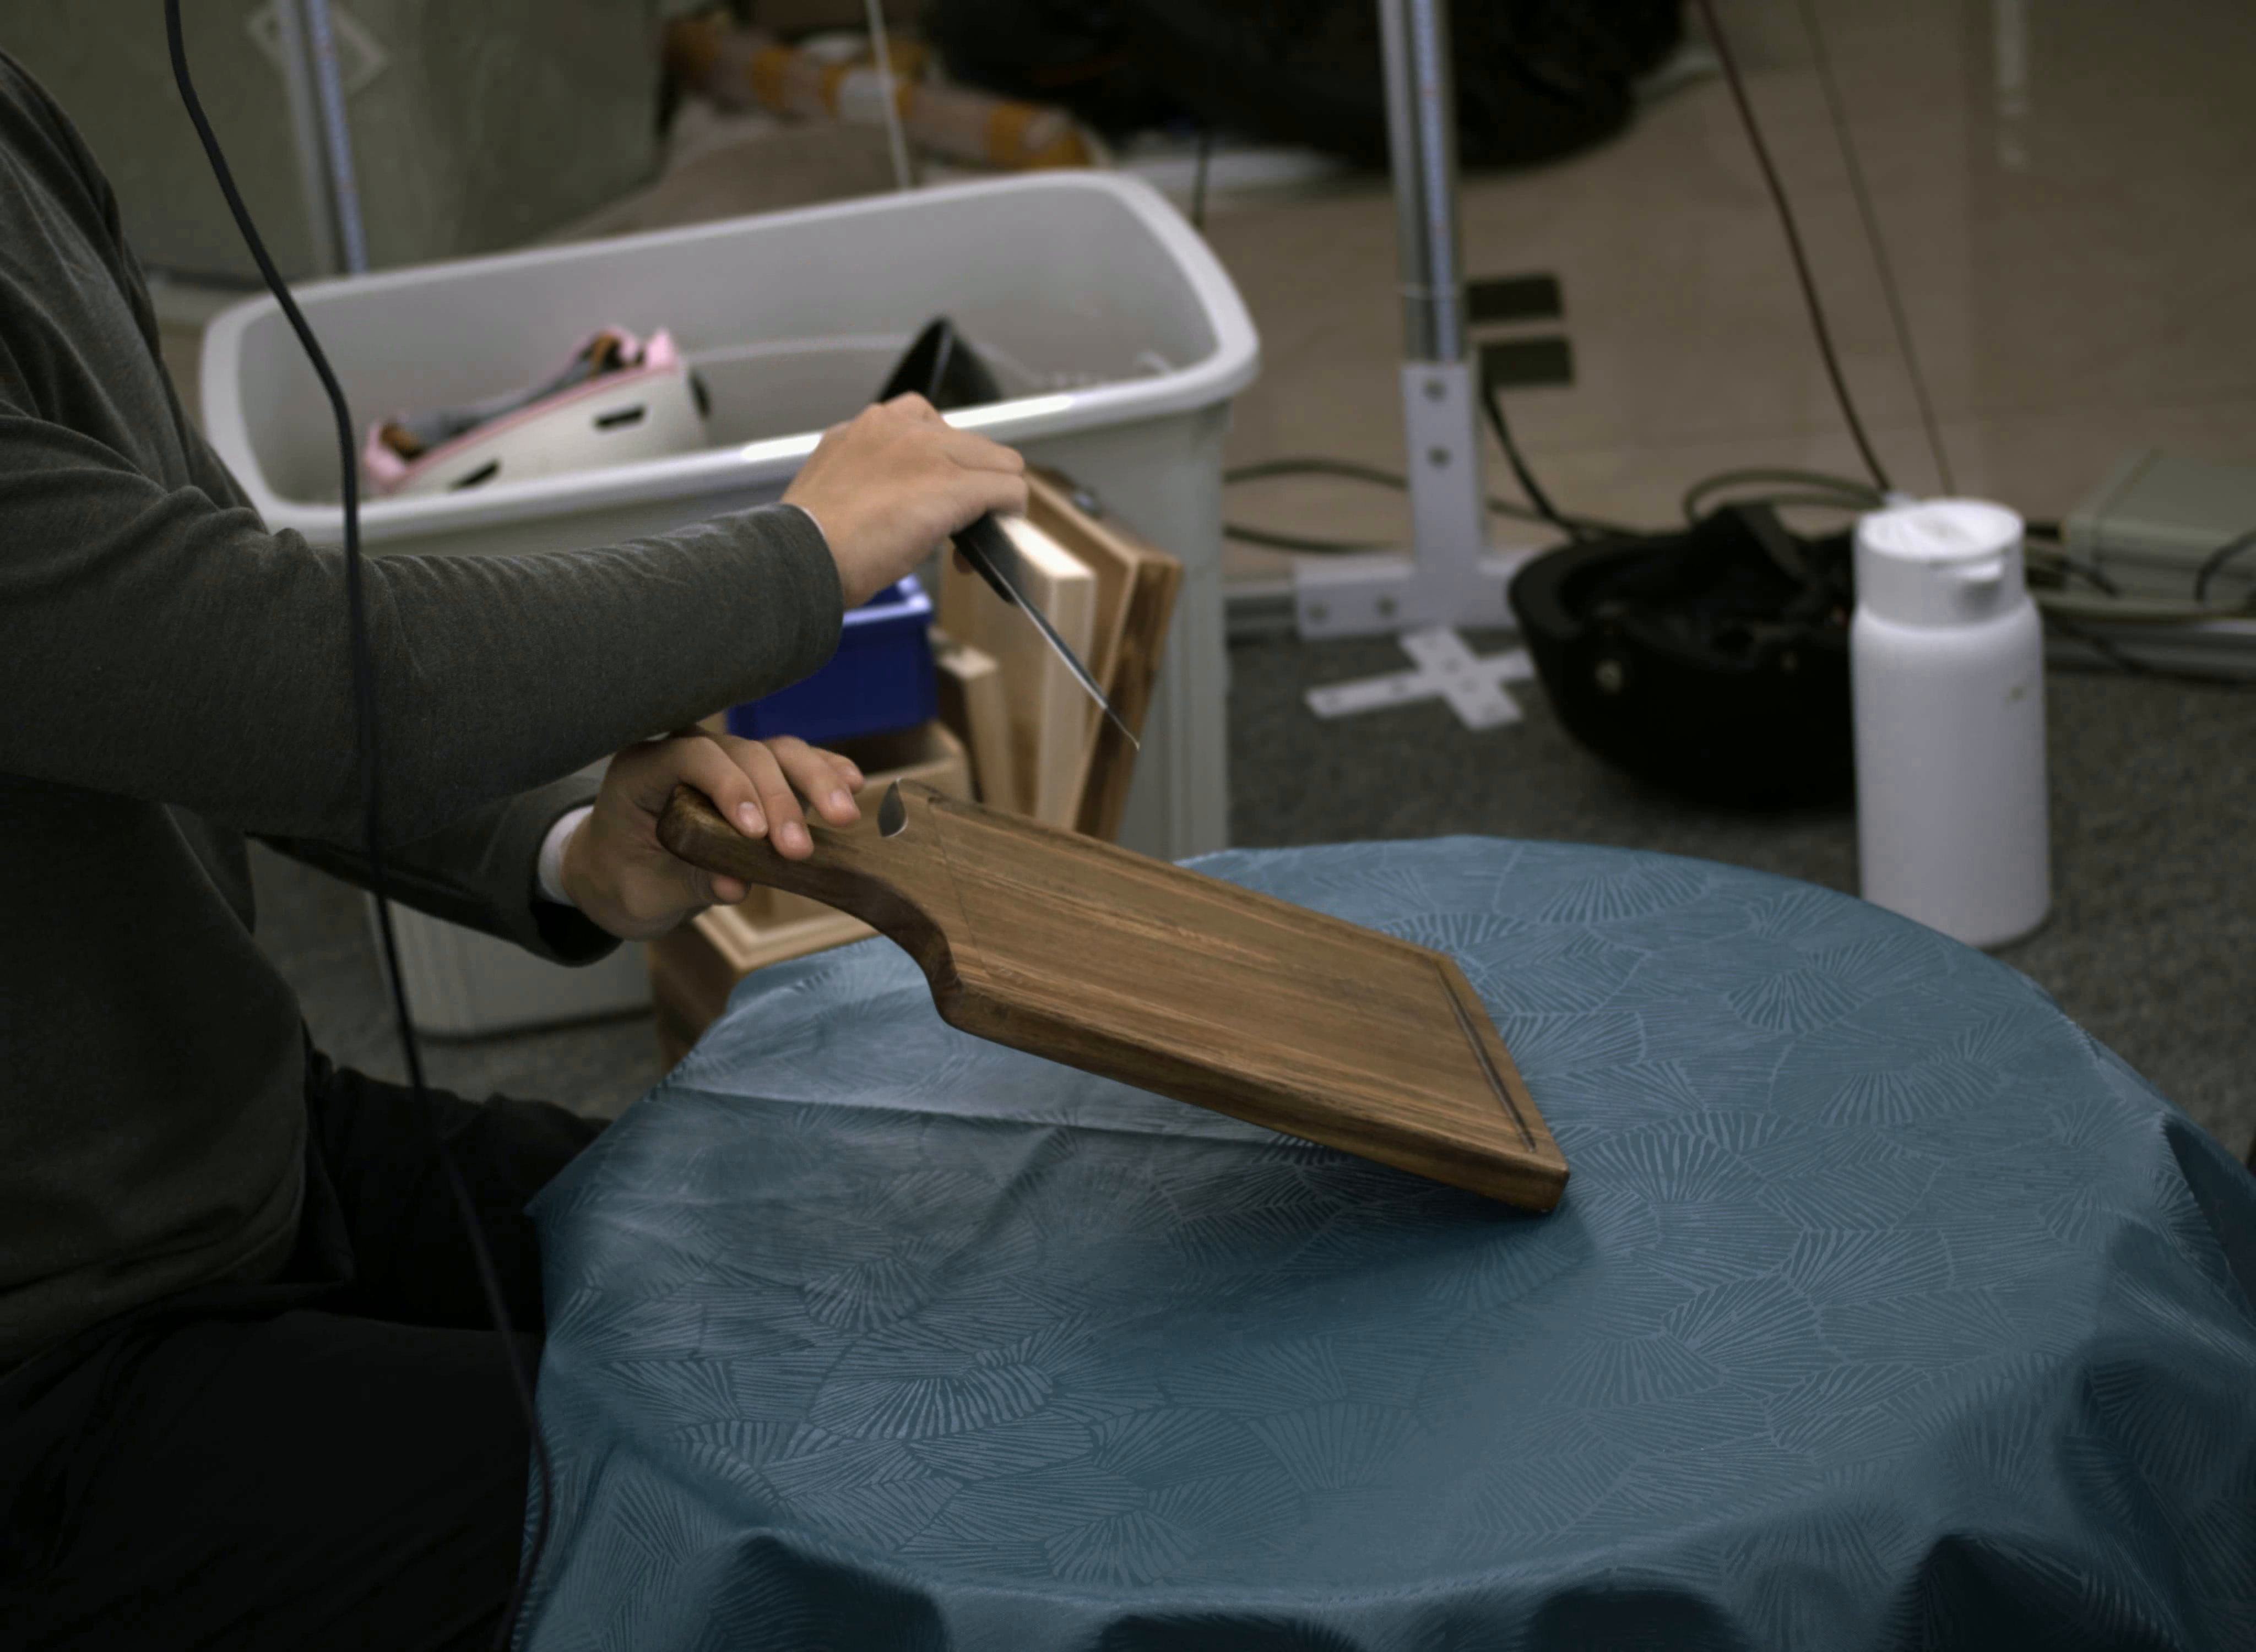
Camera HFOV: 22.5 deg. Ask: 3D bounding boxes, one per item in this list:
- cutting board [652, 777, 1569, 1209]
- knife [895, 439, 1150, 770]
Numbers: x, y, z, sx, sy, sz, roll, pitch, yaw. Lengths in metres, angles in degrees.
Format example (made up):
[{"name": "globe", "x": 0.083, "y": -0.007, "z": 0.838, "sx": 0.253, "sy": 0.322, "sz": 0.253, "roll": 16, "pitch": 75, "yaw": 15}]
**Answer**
[{"name": "cutting board", "x": -0.013, "y": 0.047, "z": 2.129, "sx": 0.353, "sy": 0.023, "sz": 0.198, "roll": 18, "pitch": 19, "yaw": -18}, {"name": "knife", "x": -0.042, "y": -0.088, "z": 2.202, "sx": 0.025, "sy": 0.016, "sz": 0.234, "roll": 30, "pitch": 16, "yaw": -41}]
